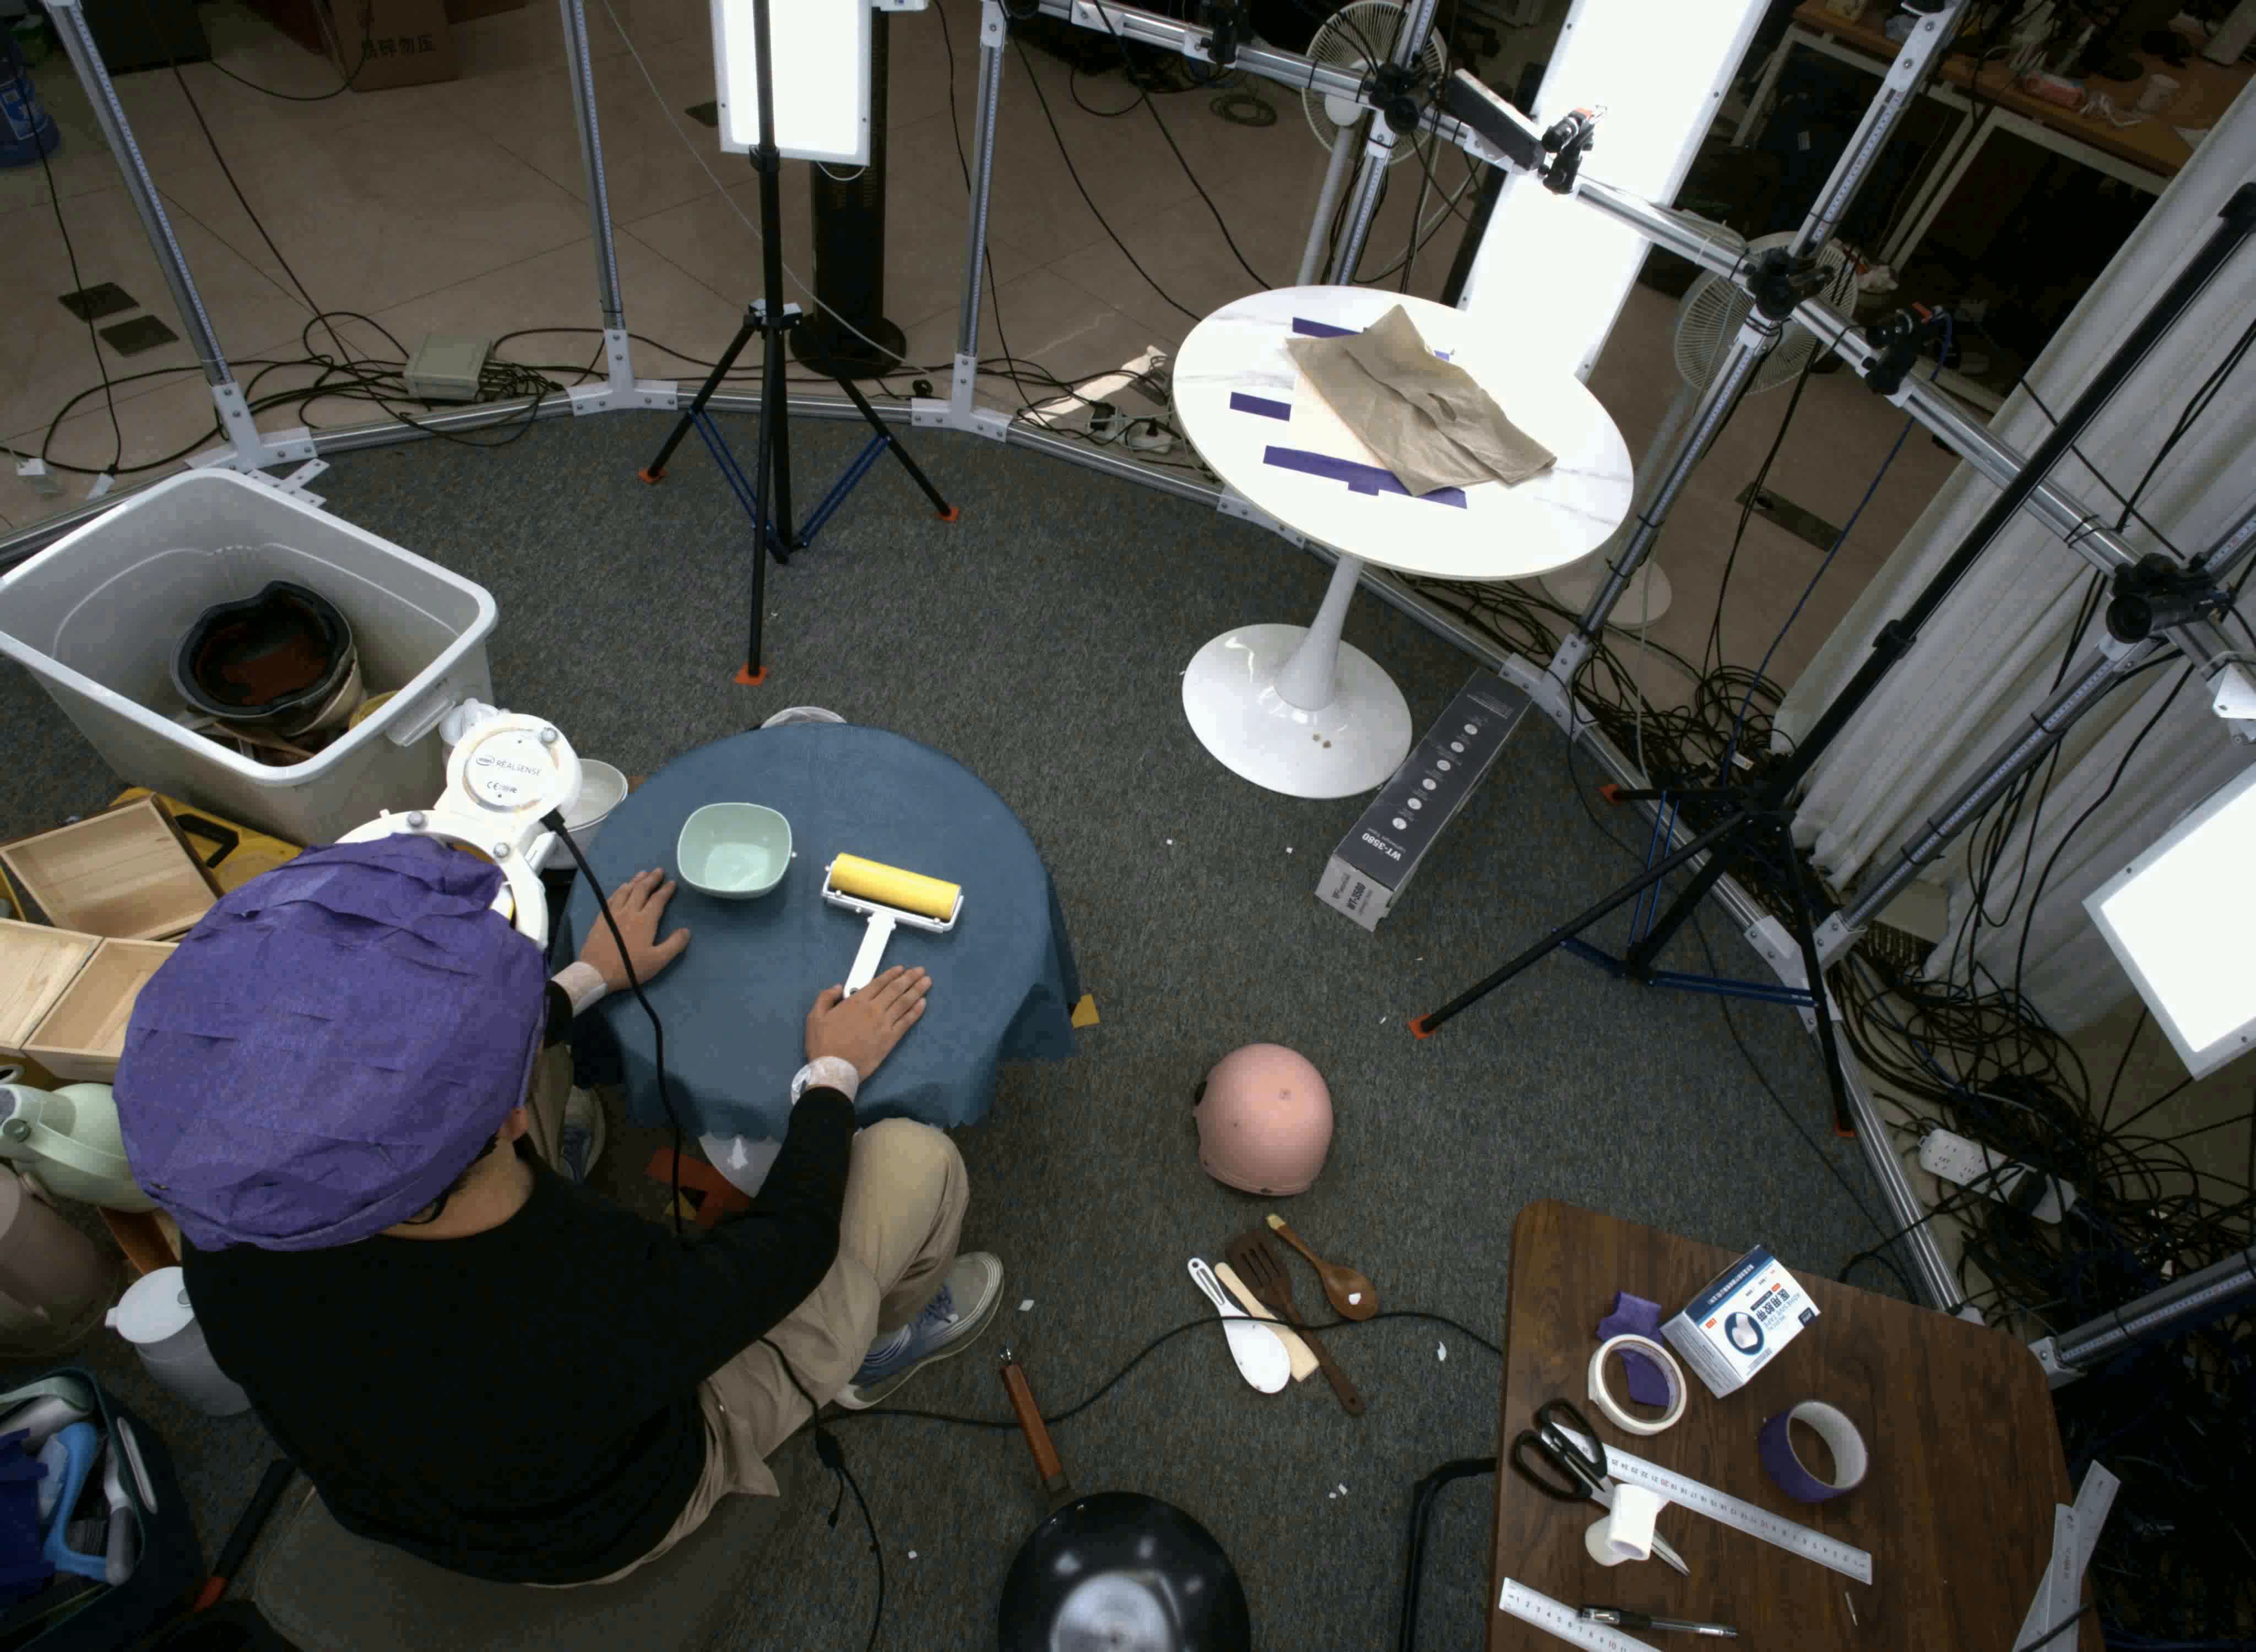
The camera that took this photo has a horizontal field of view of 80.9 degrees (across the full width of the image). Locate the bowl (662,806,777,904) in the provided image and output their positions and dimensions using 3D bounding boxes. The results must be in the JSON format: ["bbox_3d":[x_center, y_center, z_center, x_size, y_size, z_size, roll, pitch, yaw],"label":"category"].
[{"bbox_3d":[-0.512,0.045,1.625,0.151,0.060,0.148,9,50,-9],"label":"bowl"}]

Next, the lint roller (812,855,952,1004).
[{"bbox_3d":[-0.322,0.129,1.616,0.173,0.052,0.189,13,47,-3],"label":"lint roller"}]
